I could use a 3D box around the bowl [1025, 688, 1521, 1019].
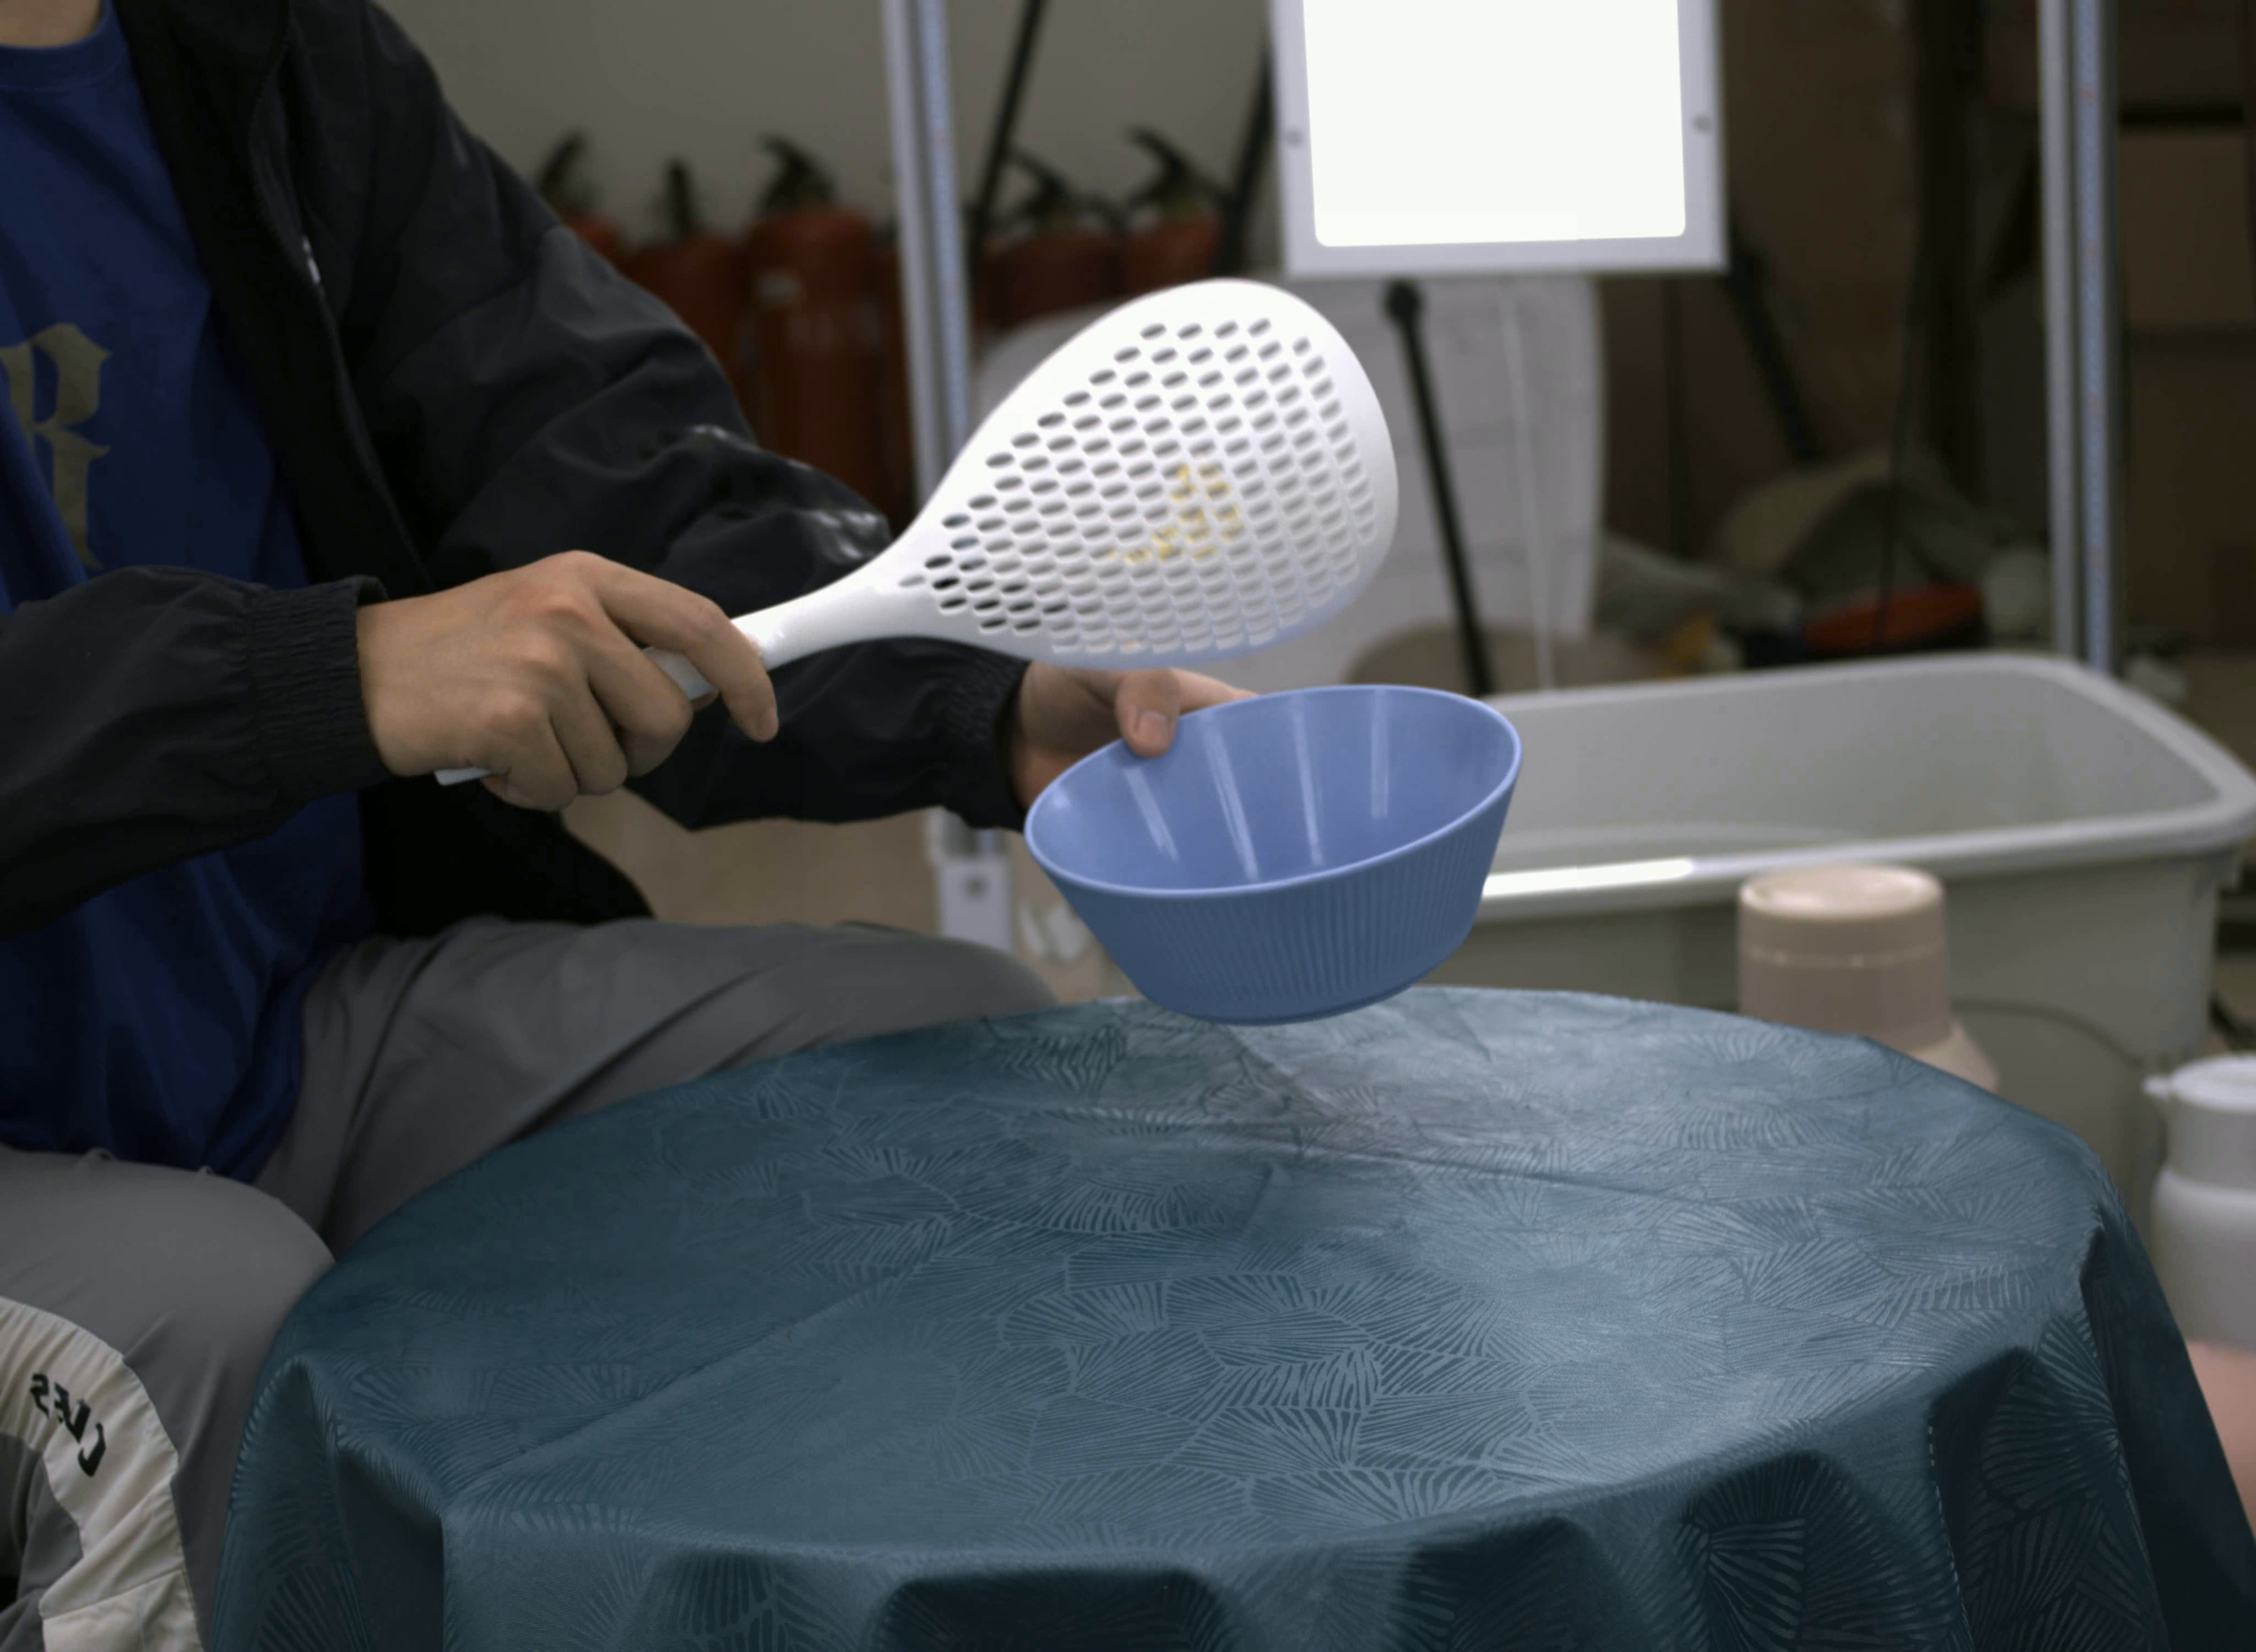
[{"bbox_3d":[0.056,0.014,1.915,0.176,0.070,0.176,-11,21,3],"label":"bowl"}]

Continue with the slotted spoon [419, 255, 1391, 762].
[{"bbox_3d":[-0.076,-0.085,1.885,0.348,0.136,0.050,-19,23,5],"label":"slotted spoon"}]
